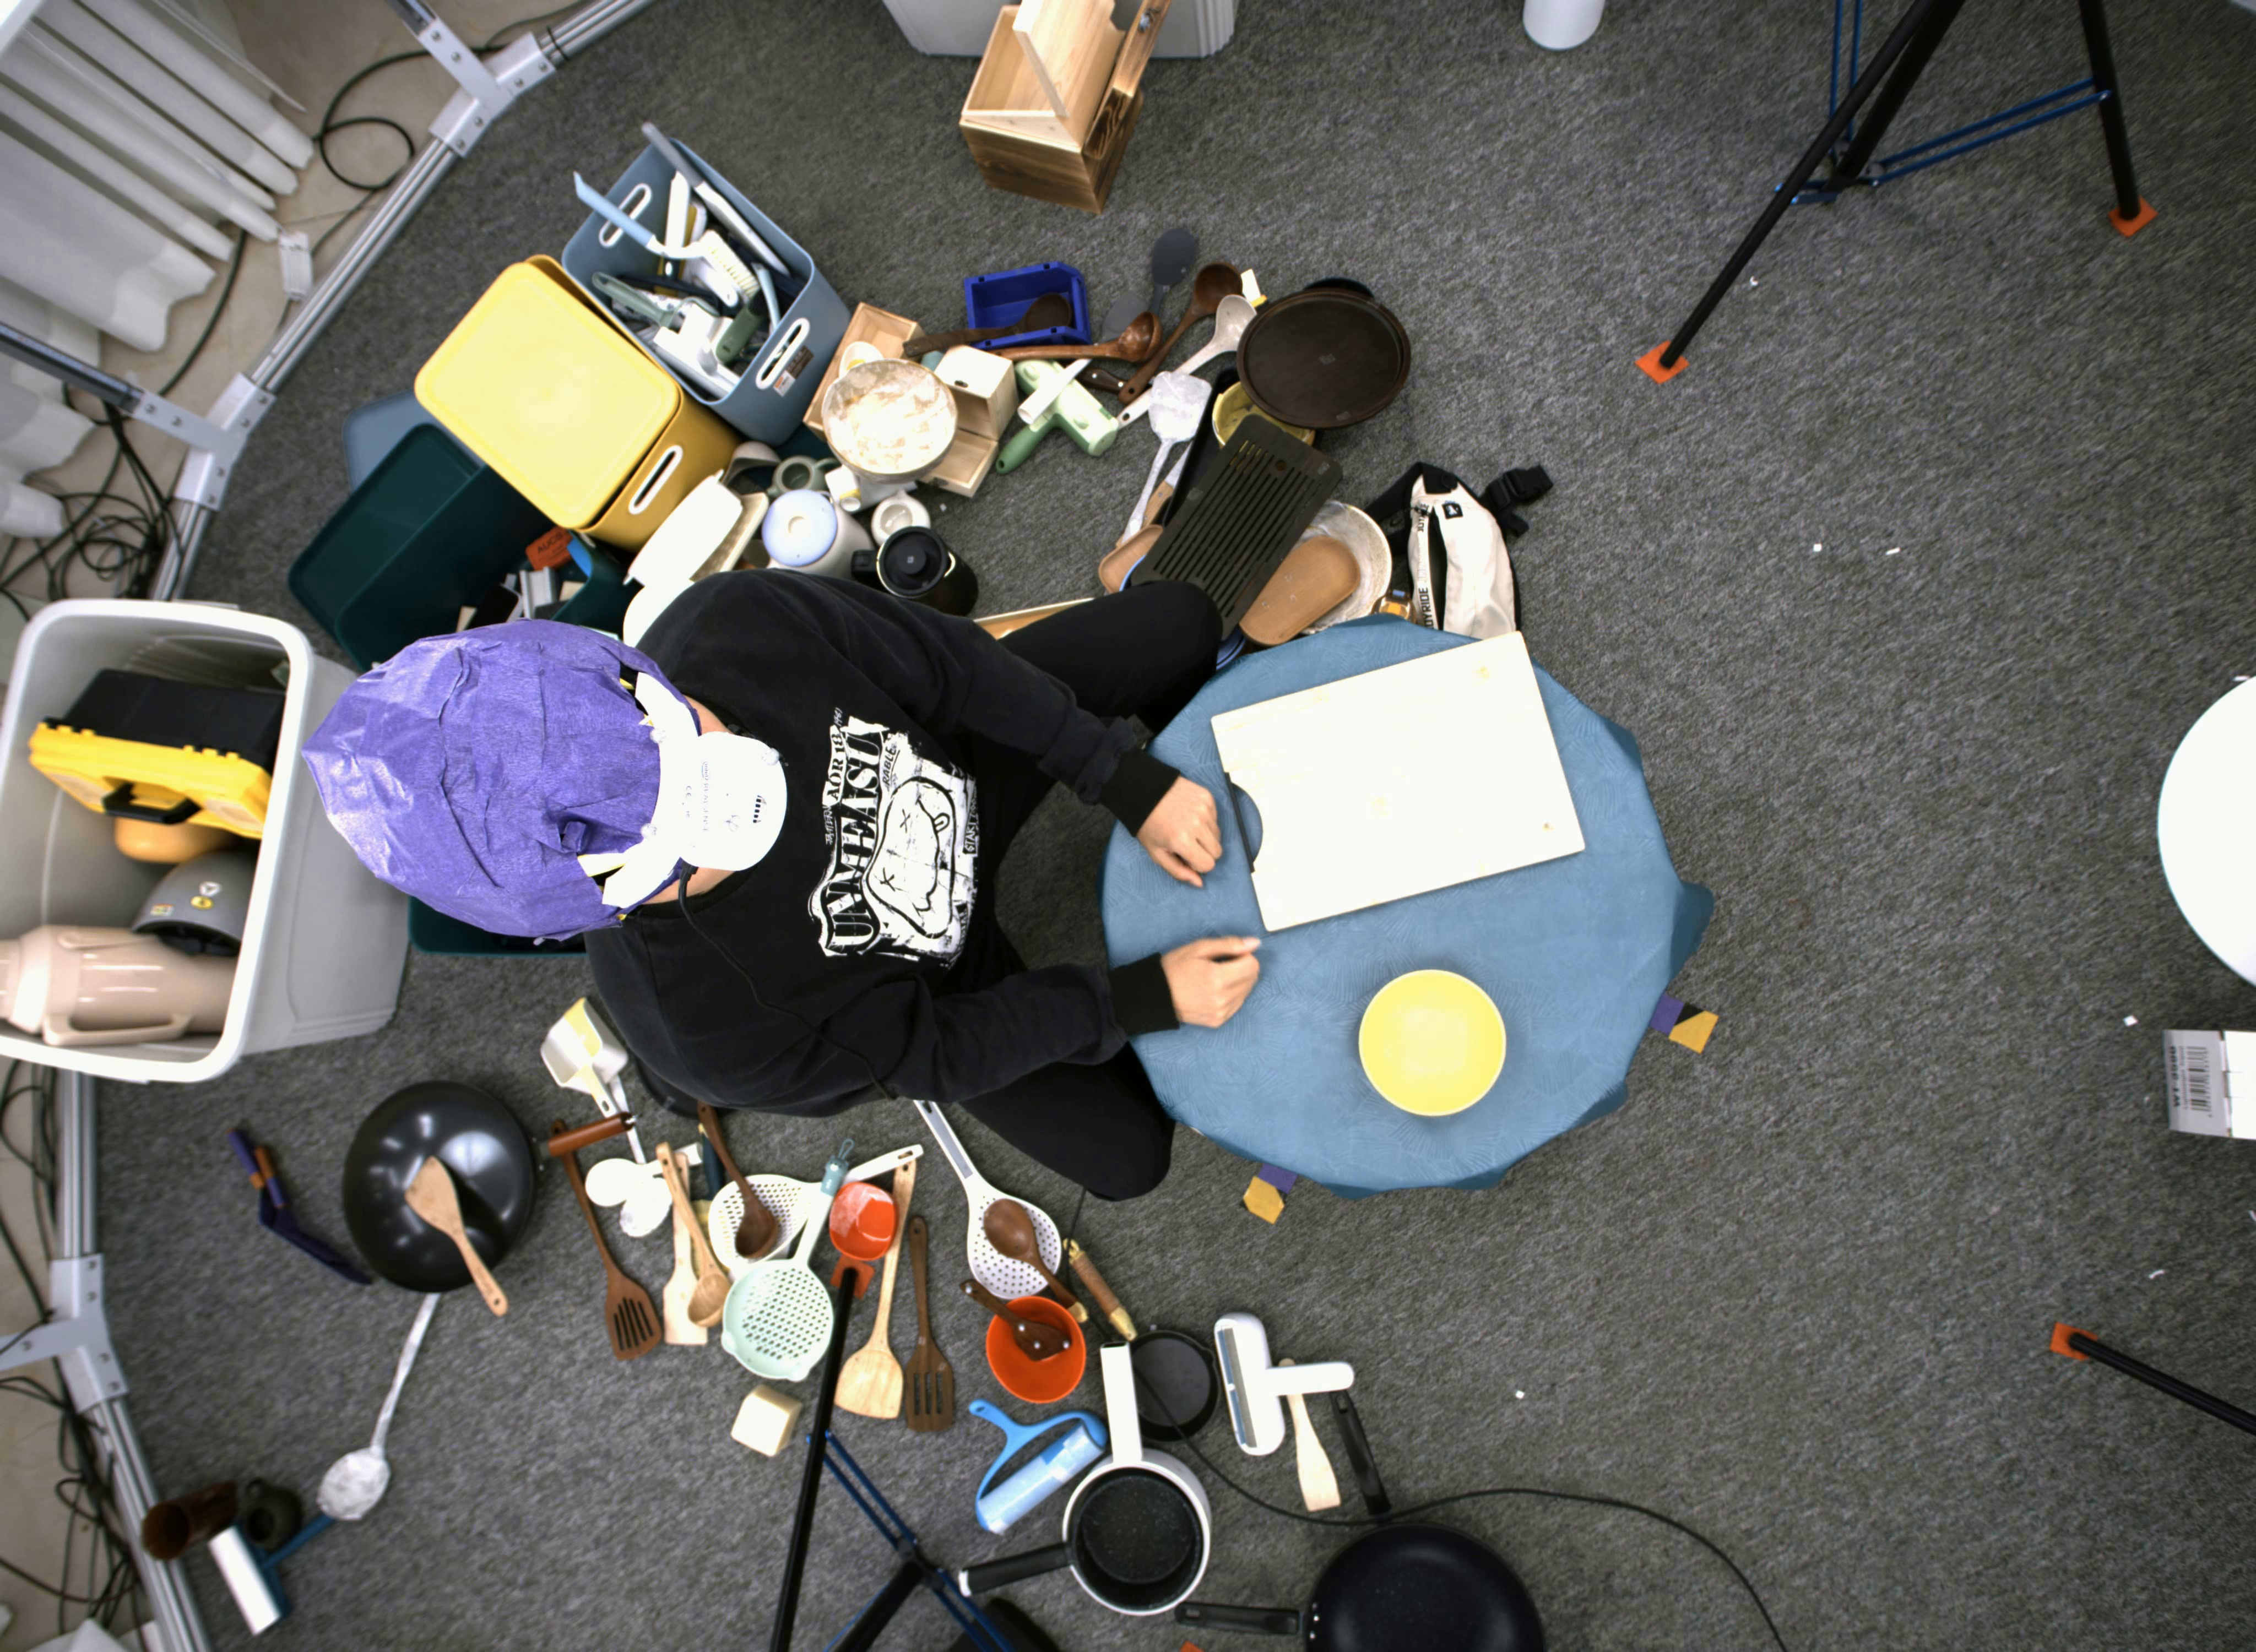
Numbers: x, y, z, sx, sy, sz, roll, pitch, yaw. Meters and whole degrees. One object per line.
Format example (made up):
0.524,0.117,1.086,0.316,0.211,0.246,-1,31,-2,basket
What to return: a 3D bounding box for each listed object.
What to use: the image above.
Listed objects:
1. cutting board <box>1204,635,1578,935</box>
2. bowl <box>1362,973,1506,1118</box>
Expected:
0.278,-0.044,1.463,0.350,0.023,0.249,-16,83,9,cutting board
0.313,0.223,1.418,0.146,0.060,0.144,-2,83,11,bowl
